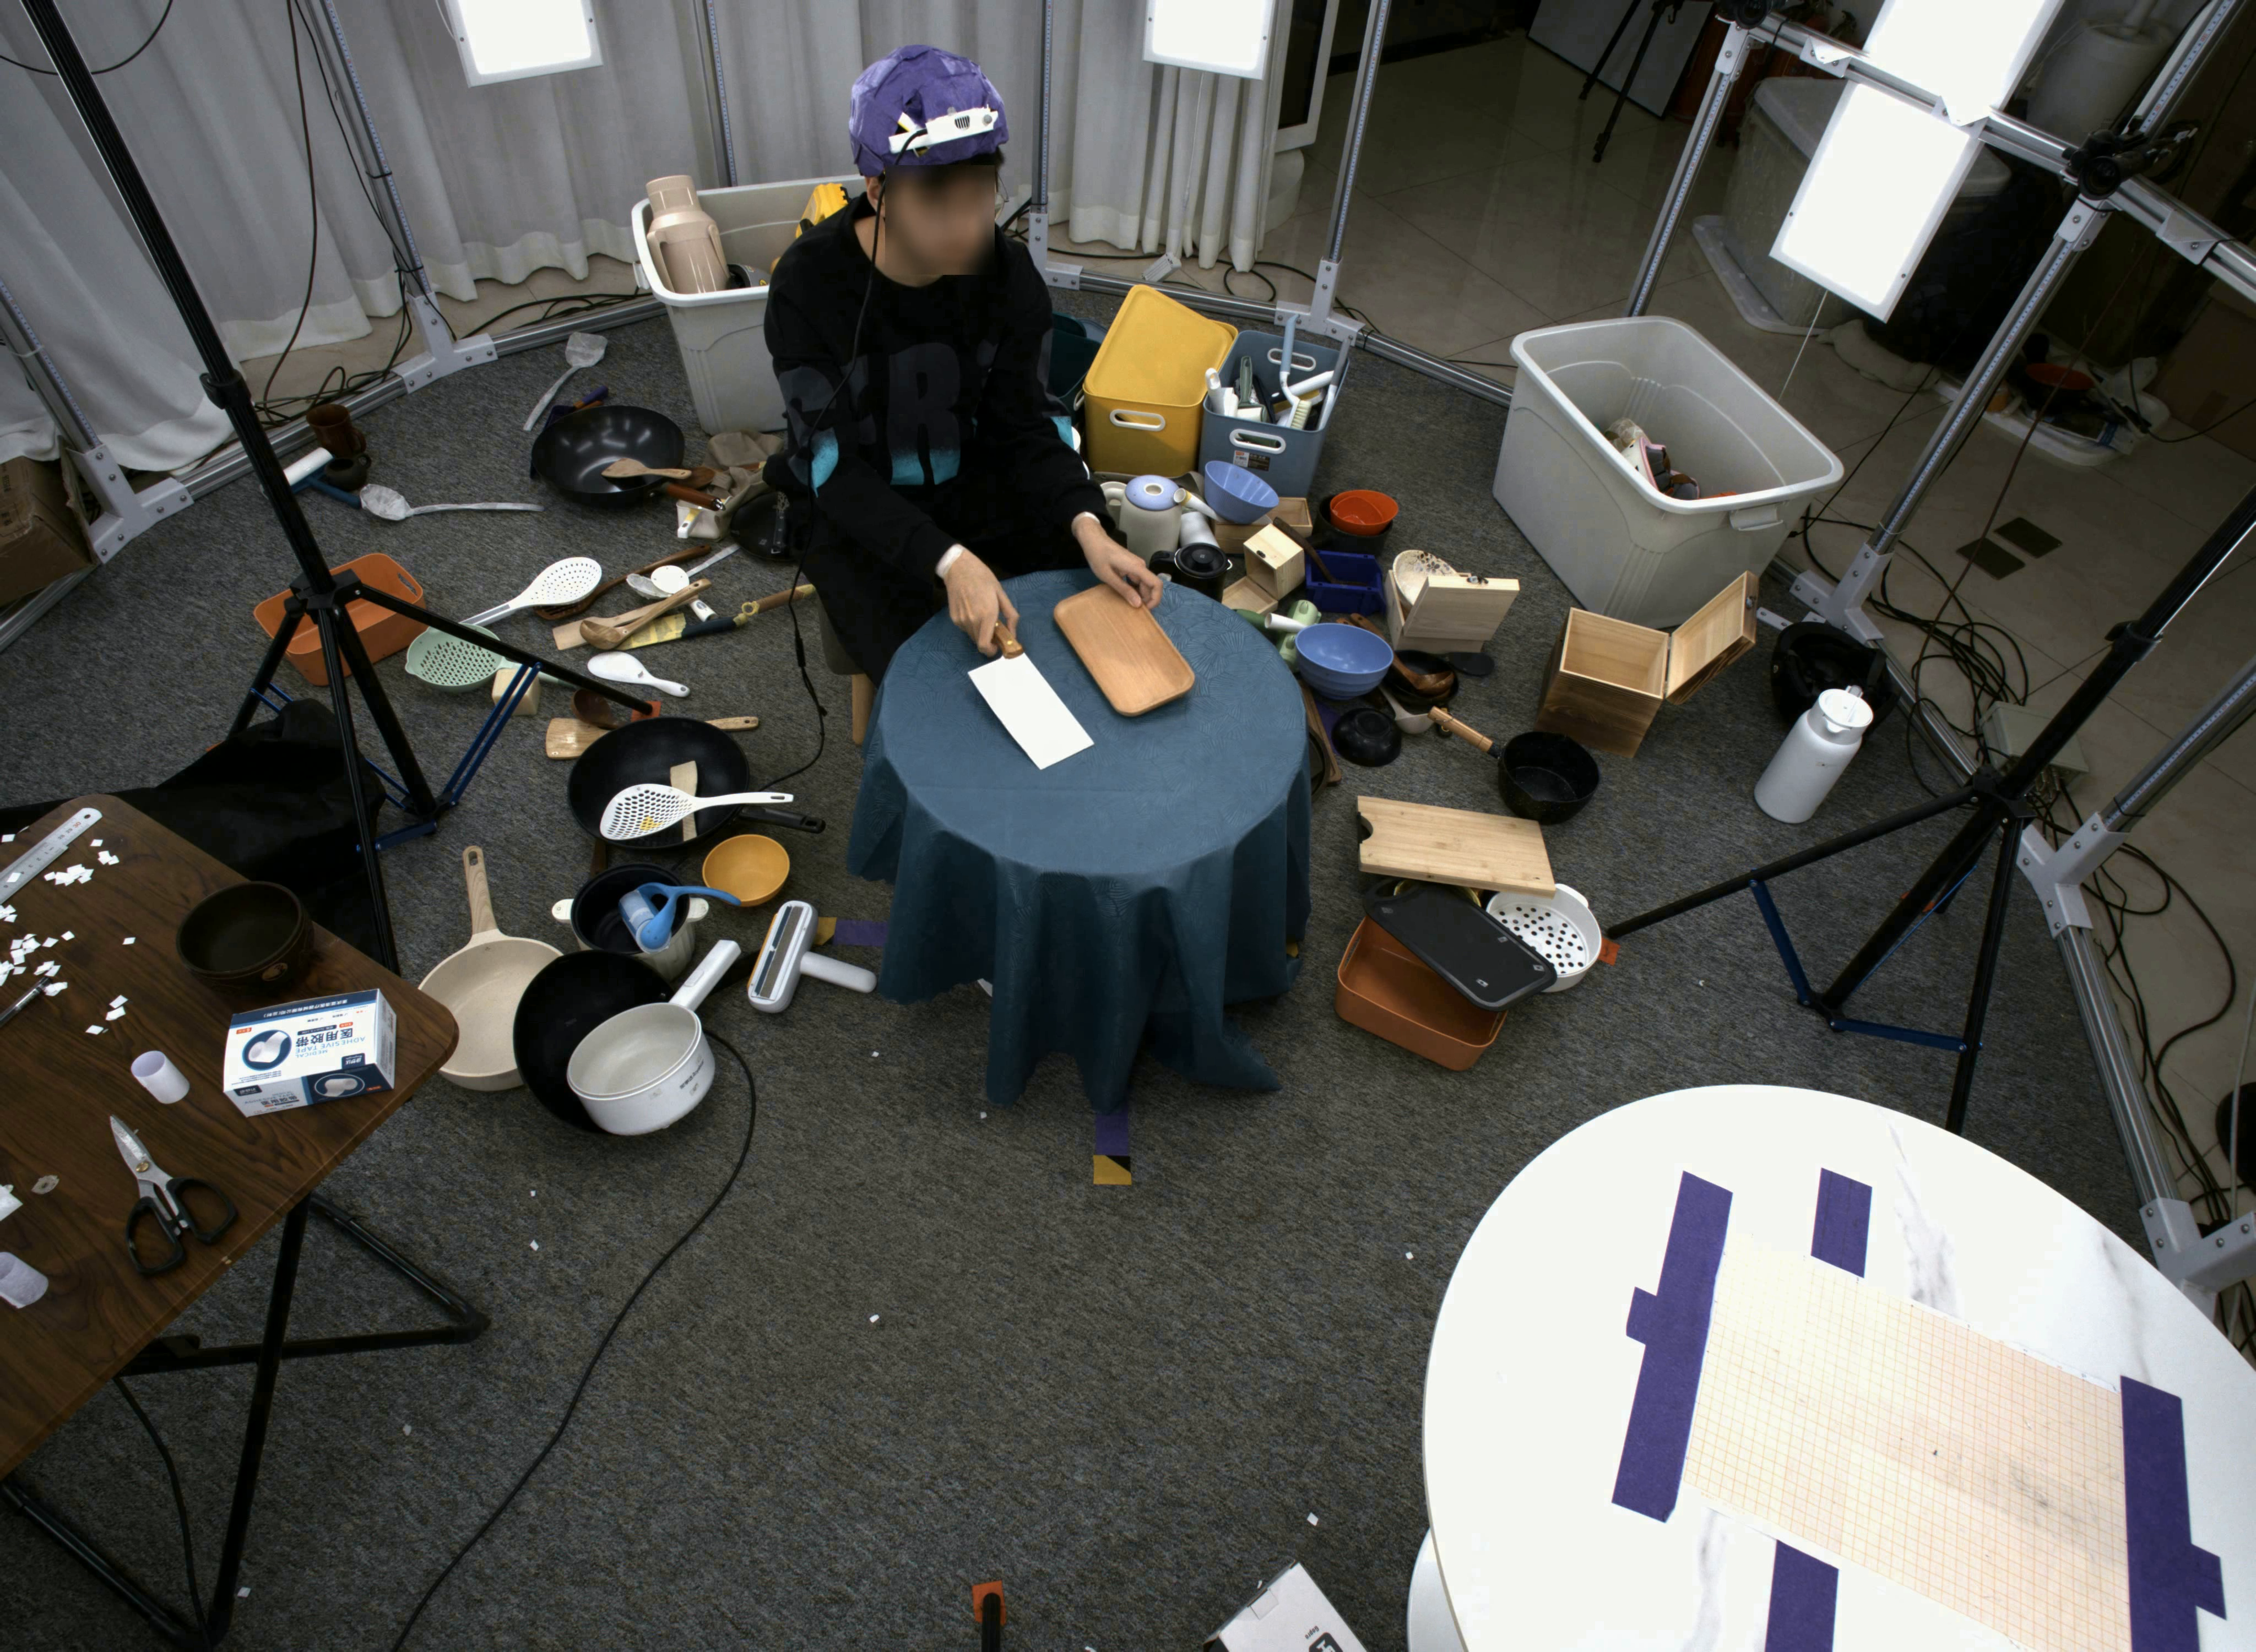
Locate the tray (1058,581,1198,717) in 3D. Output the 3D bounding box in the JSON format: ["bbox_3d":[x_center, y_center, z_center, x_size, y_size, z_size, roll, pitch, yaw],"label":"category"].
[{"bbox_3d":[-0.002,-0.260,1.872,0.131,0.022,0.256,-22,53,-12],"label":"tray"}]

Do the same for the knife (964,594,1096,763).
[{"bbox_3d":[-0.162,-0.207,1.806,0.093,0.020,0.311,-26,64,-24],"label":"knife"}]
